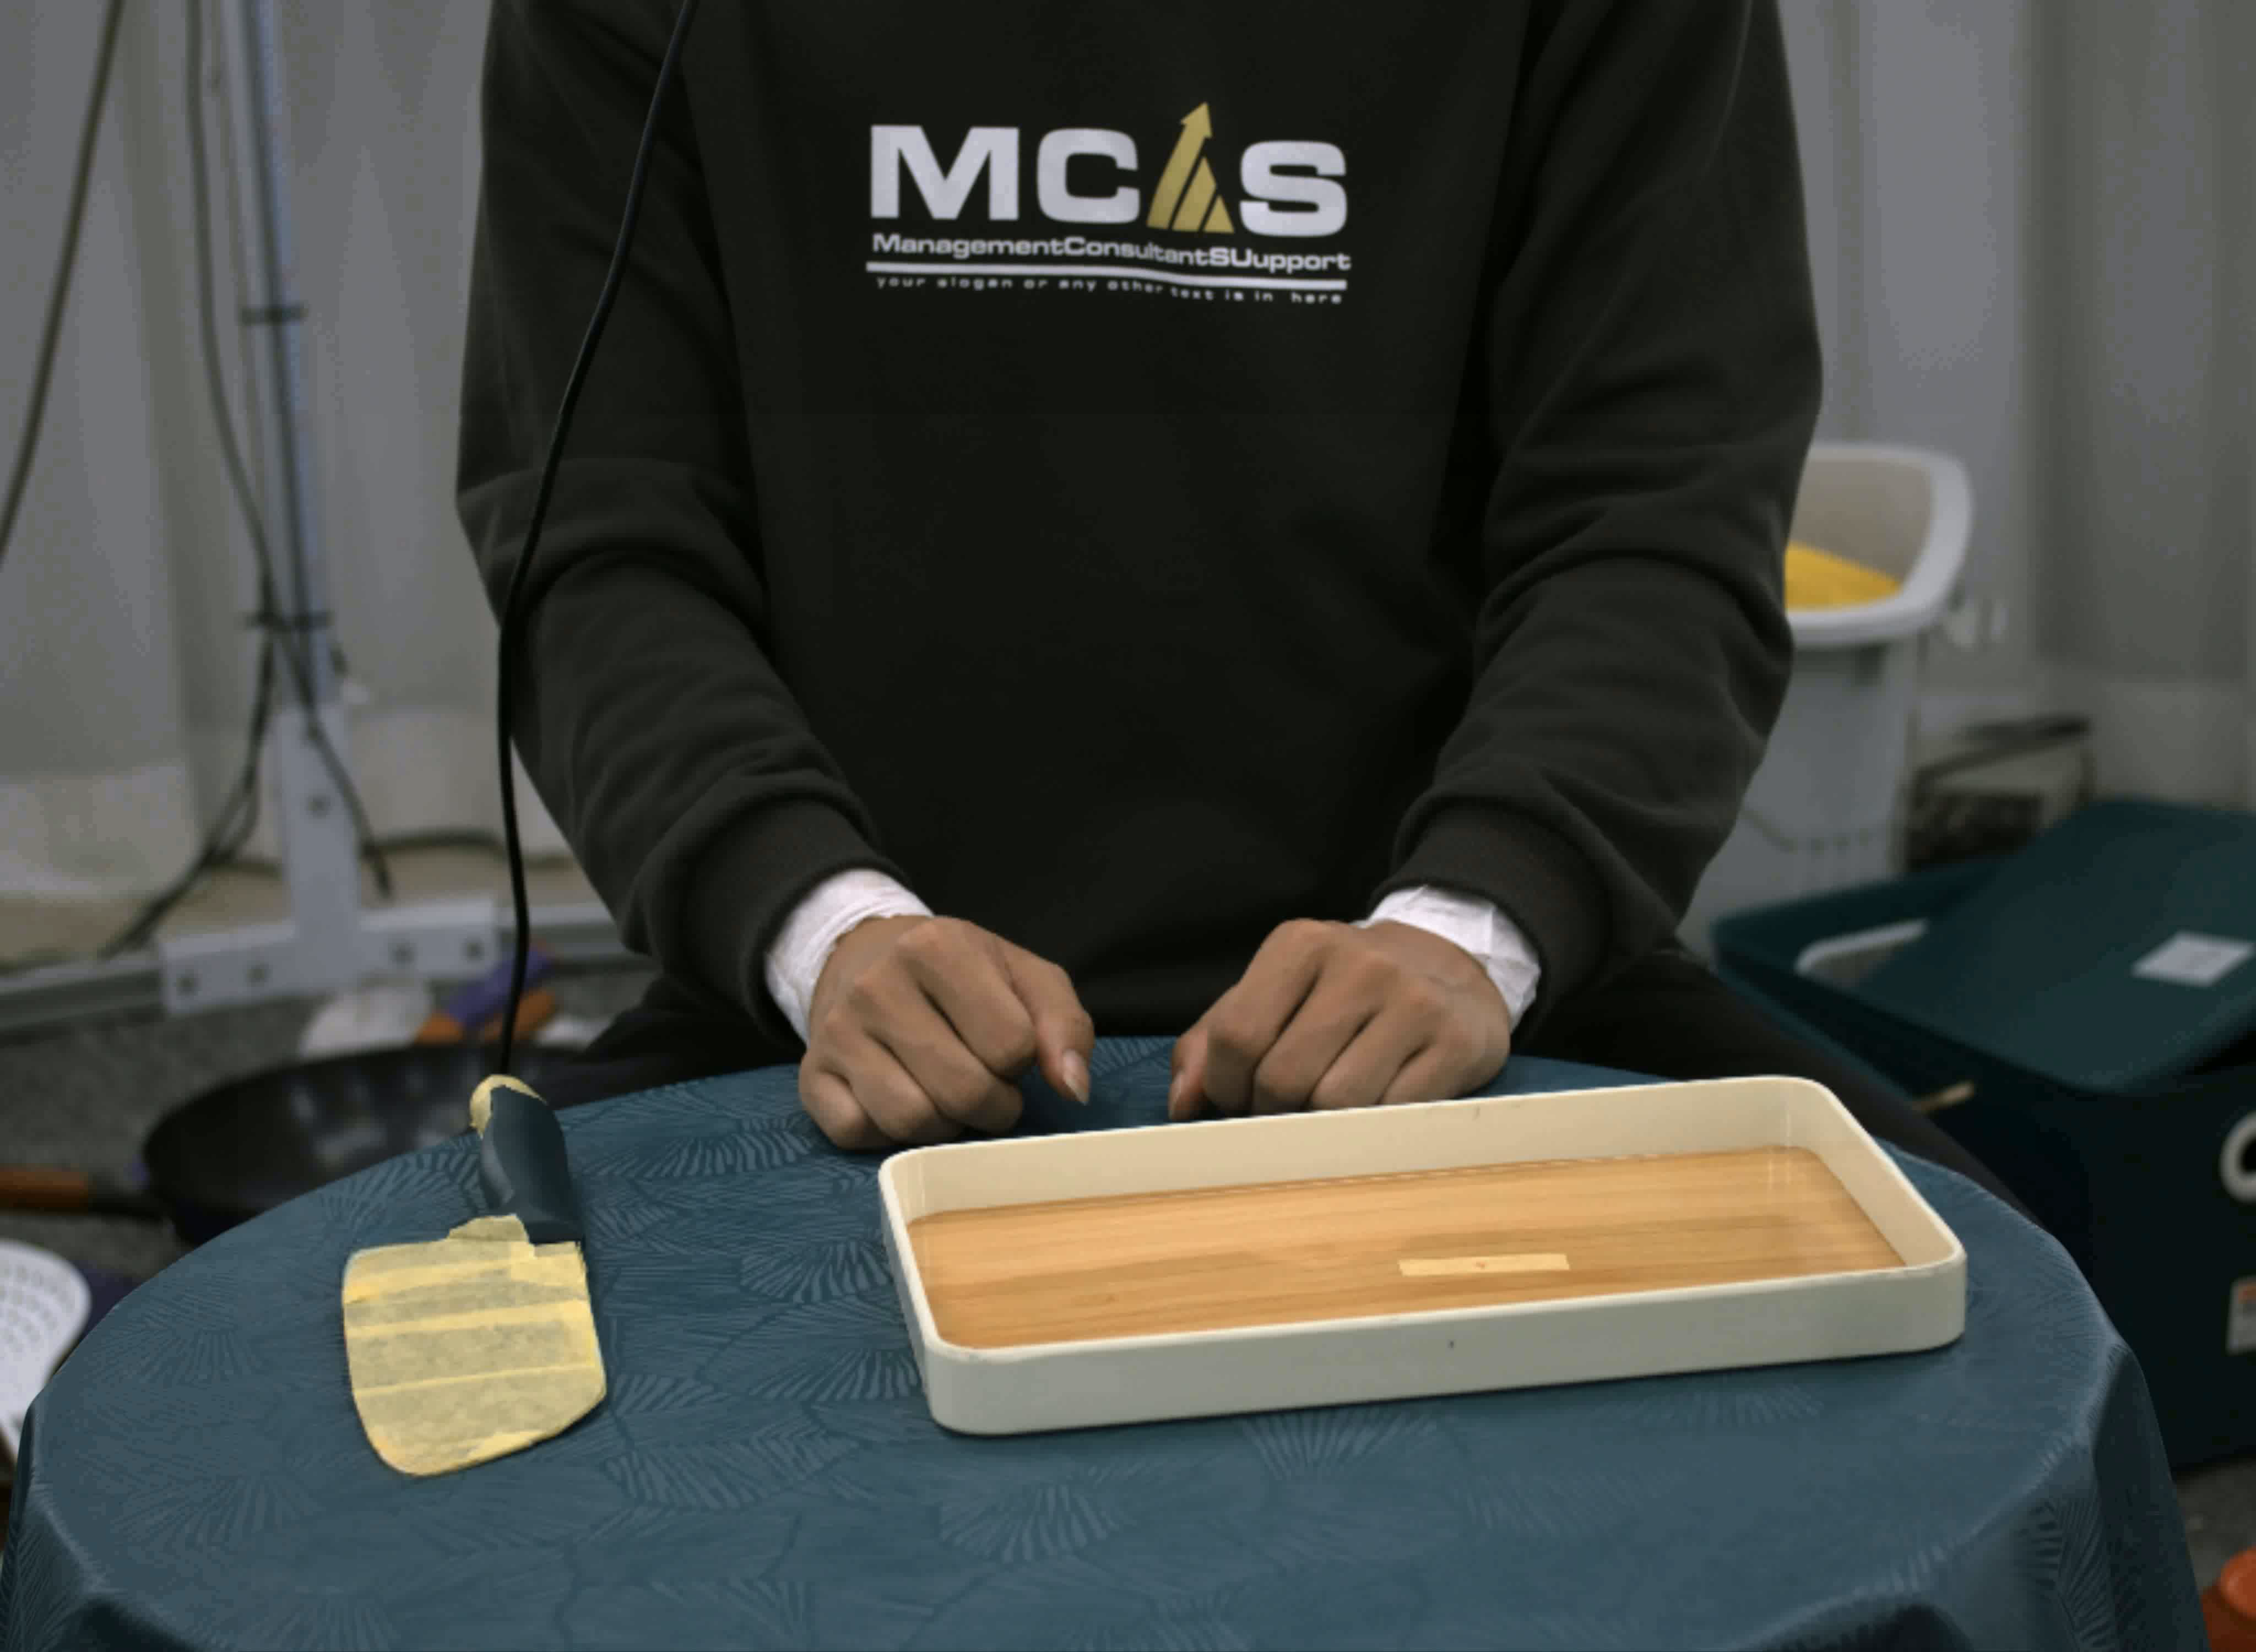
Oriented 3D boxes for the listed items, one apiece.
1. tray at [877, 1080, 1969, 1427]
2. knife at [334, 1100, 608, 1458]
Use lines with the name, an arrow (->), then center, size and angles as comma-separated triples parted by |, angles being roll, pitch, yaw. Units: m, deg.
tray -> 0.082, 0.124, 1.615 | 0.299, 0.027, 0.193 | -4, 14, -6
knife -> -0.199, 0.136, 1.647 | 0.081, 0.027, 0.292 | -3, 15, -6
